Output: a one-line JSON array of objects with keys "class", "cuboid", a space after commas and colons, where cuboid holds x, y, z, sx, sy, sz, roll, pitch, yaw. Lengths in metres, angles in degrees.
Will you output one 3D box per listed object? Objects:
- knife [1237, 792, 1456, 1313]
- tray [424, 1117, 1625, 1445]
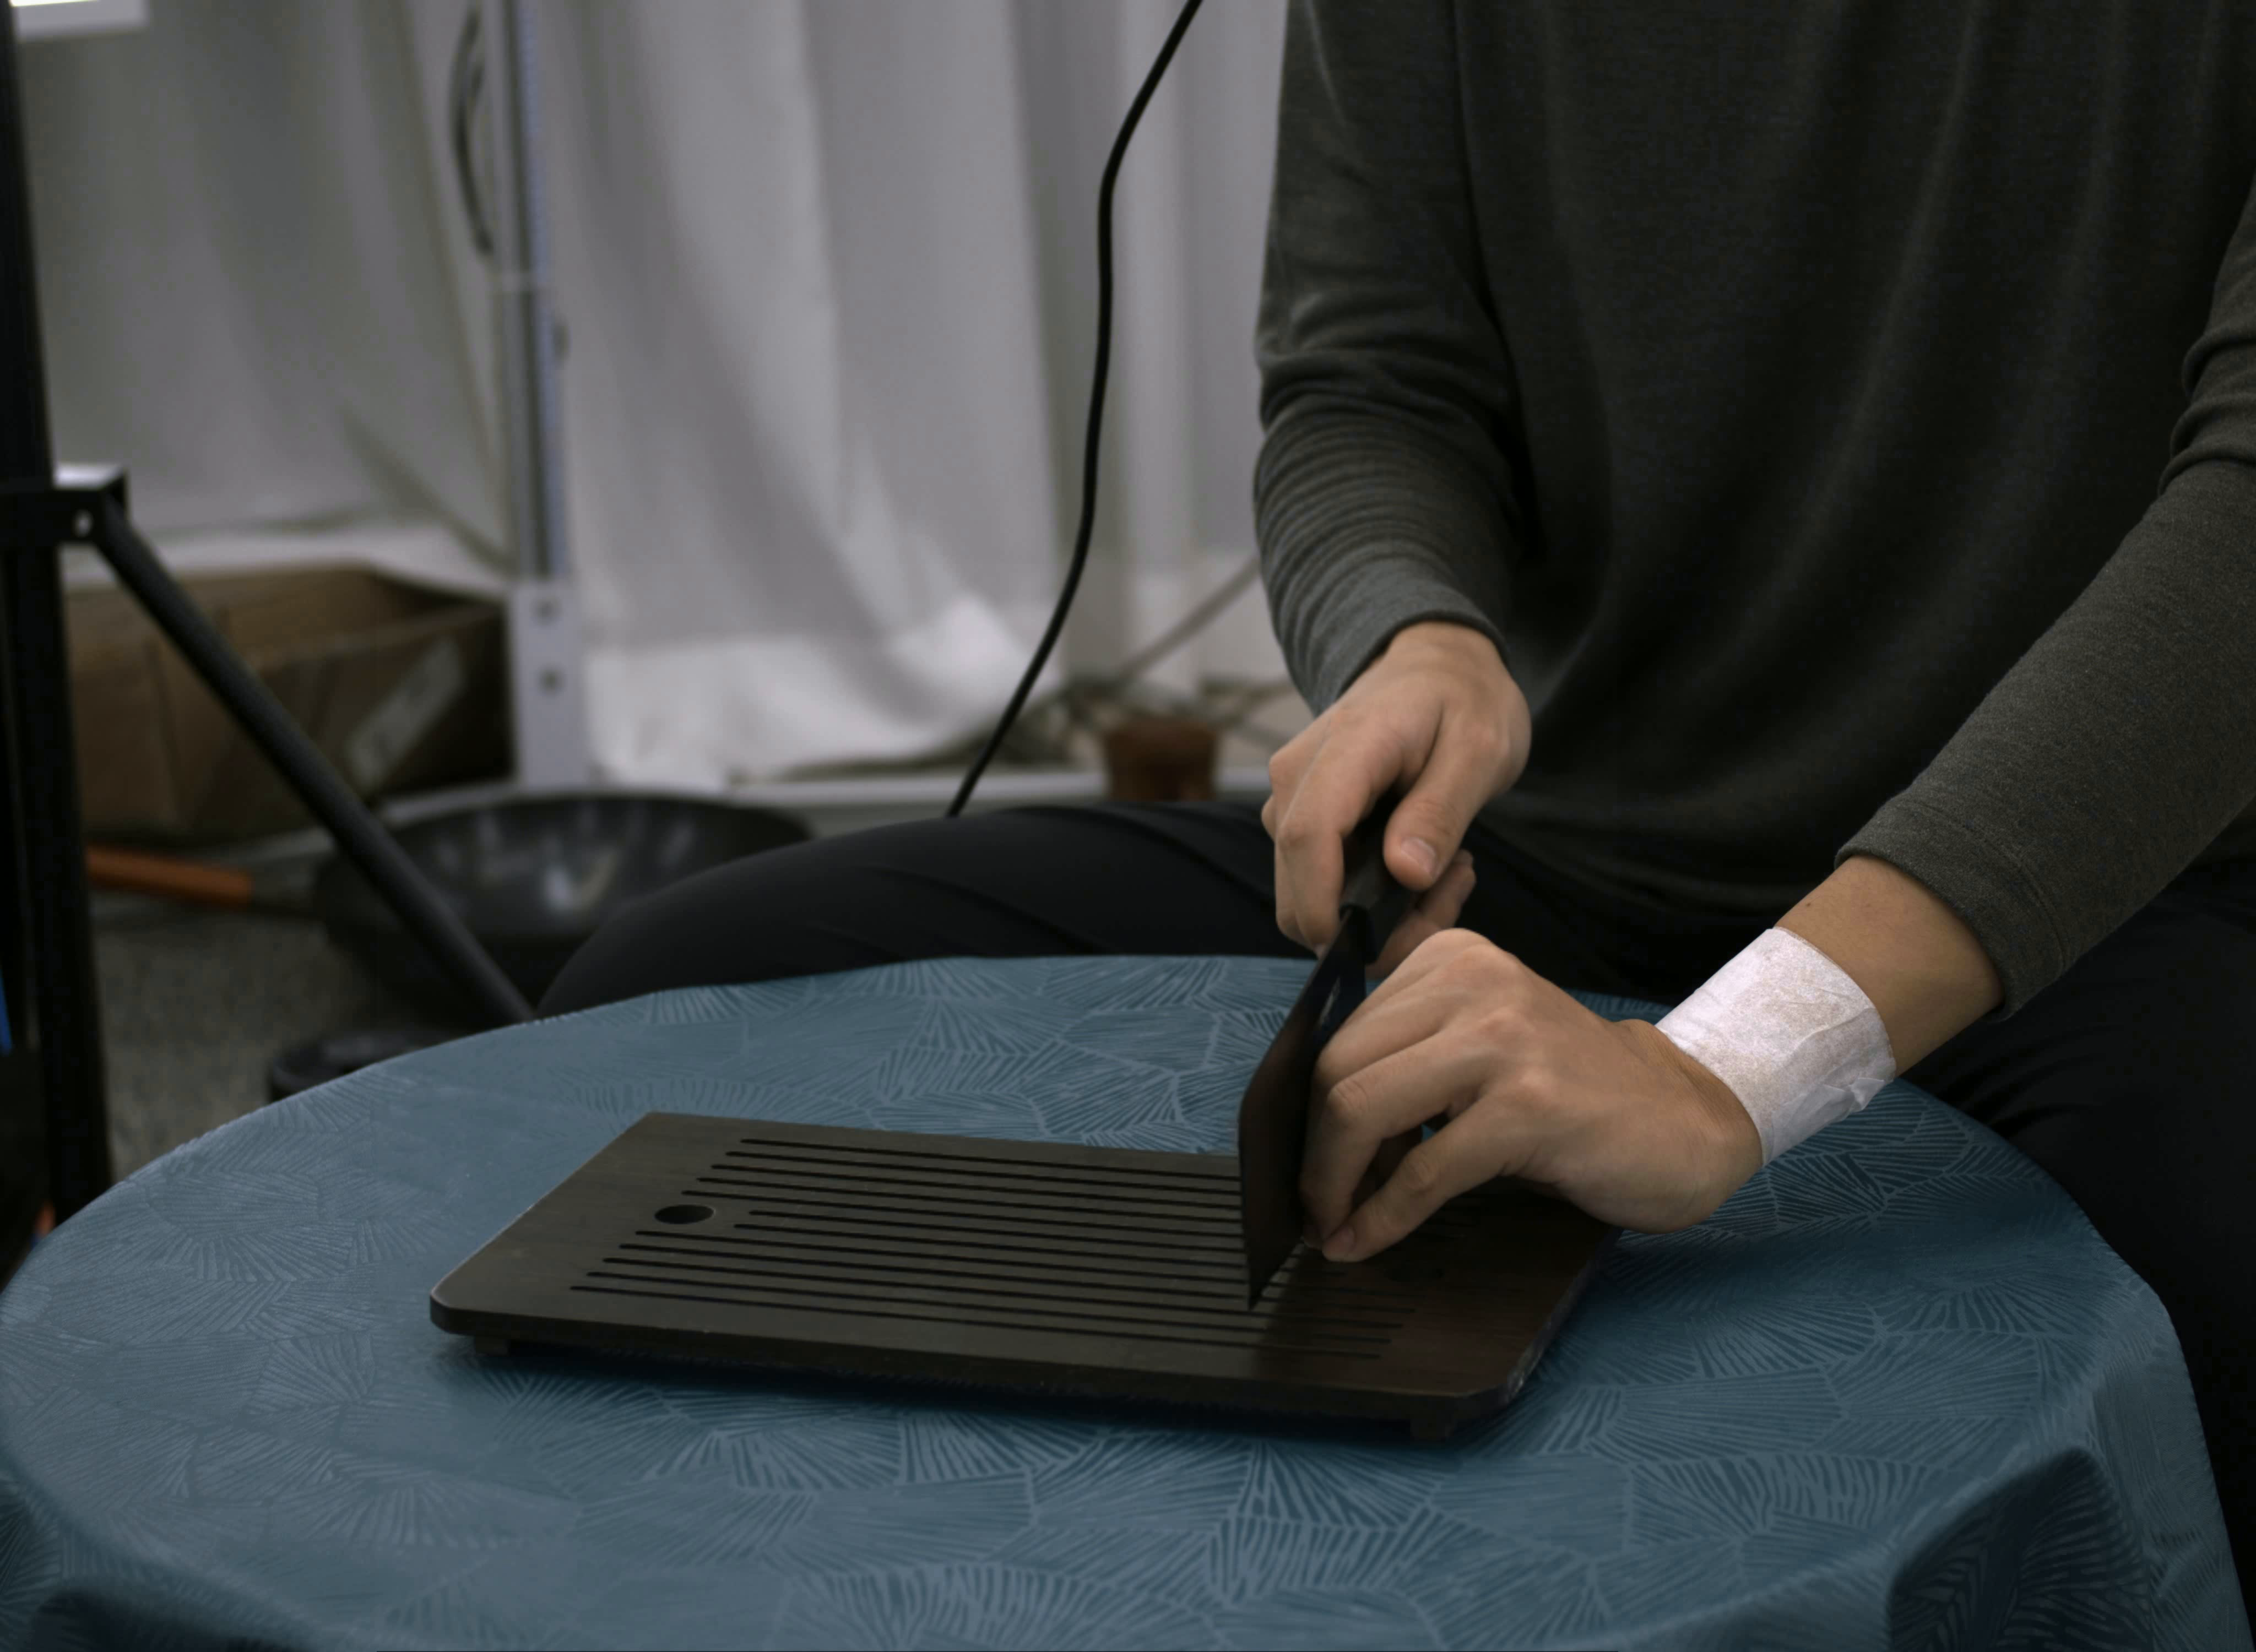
[{"class": "knife", "cuboid": [0.062, 0.056, 1.523, 0.021, 0.081, 0.301, 2, 21, 13]}, {"class": "tray", "cuboid": [-0.026, 0.124, 1.474, 0.309, 0.018, 0.168, 4, 16, 19]}]
